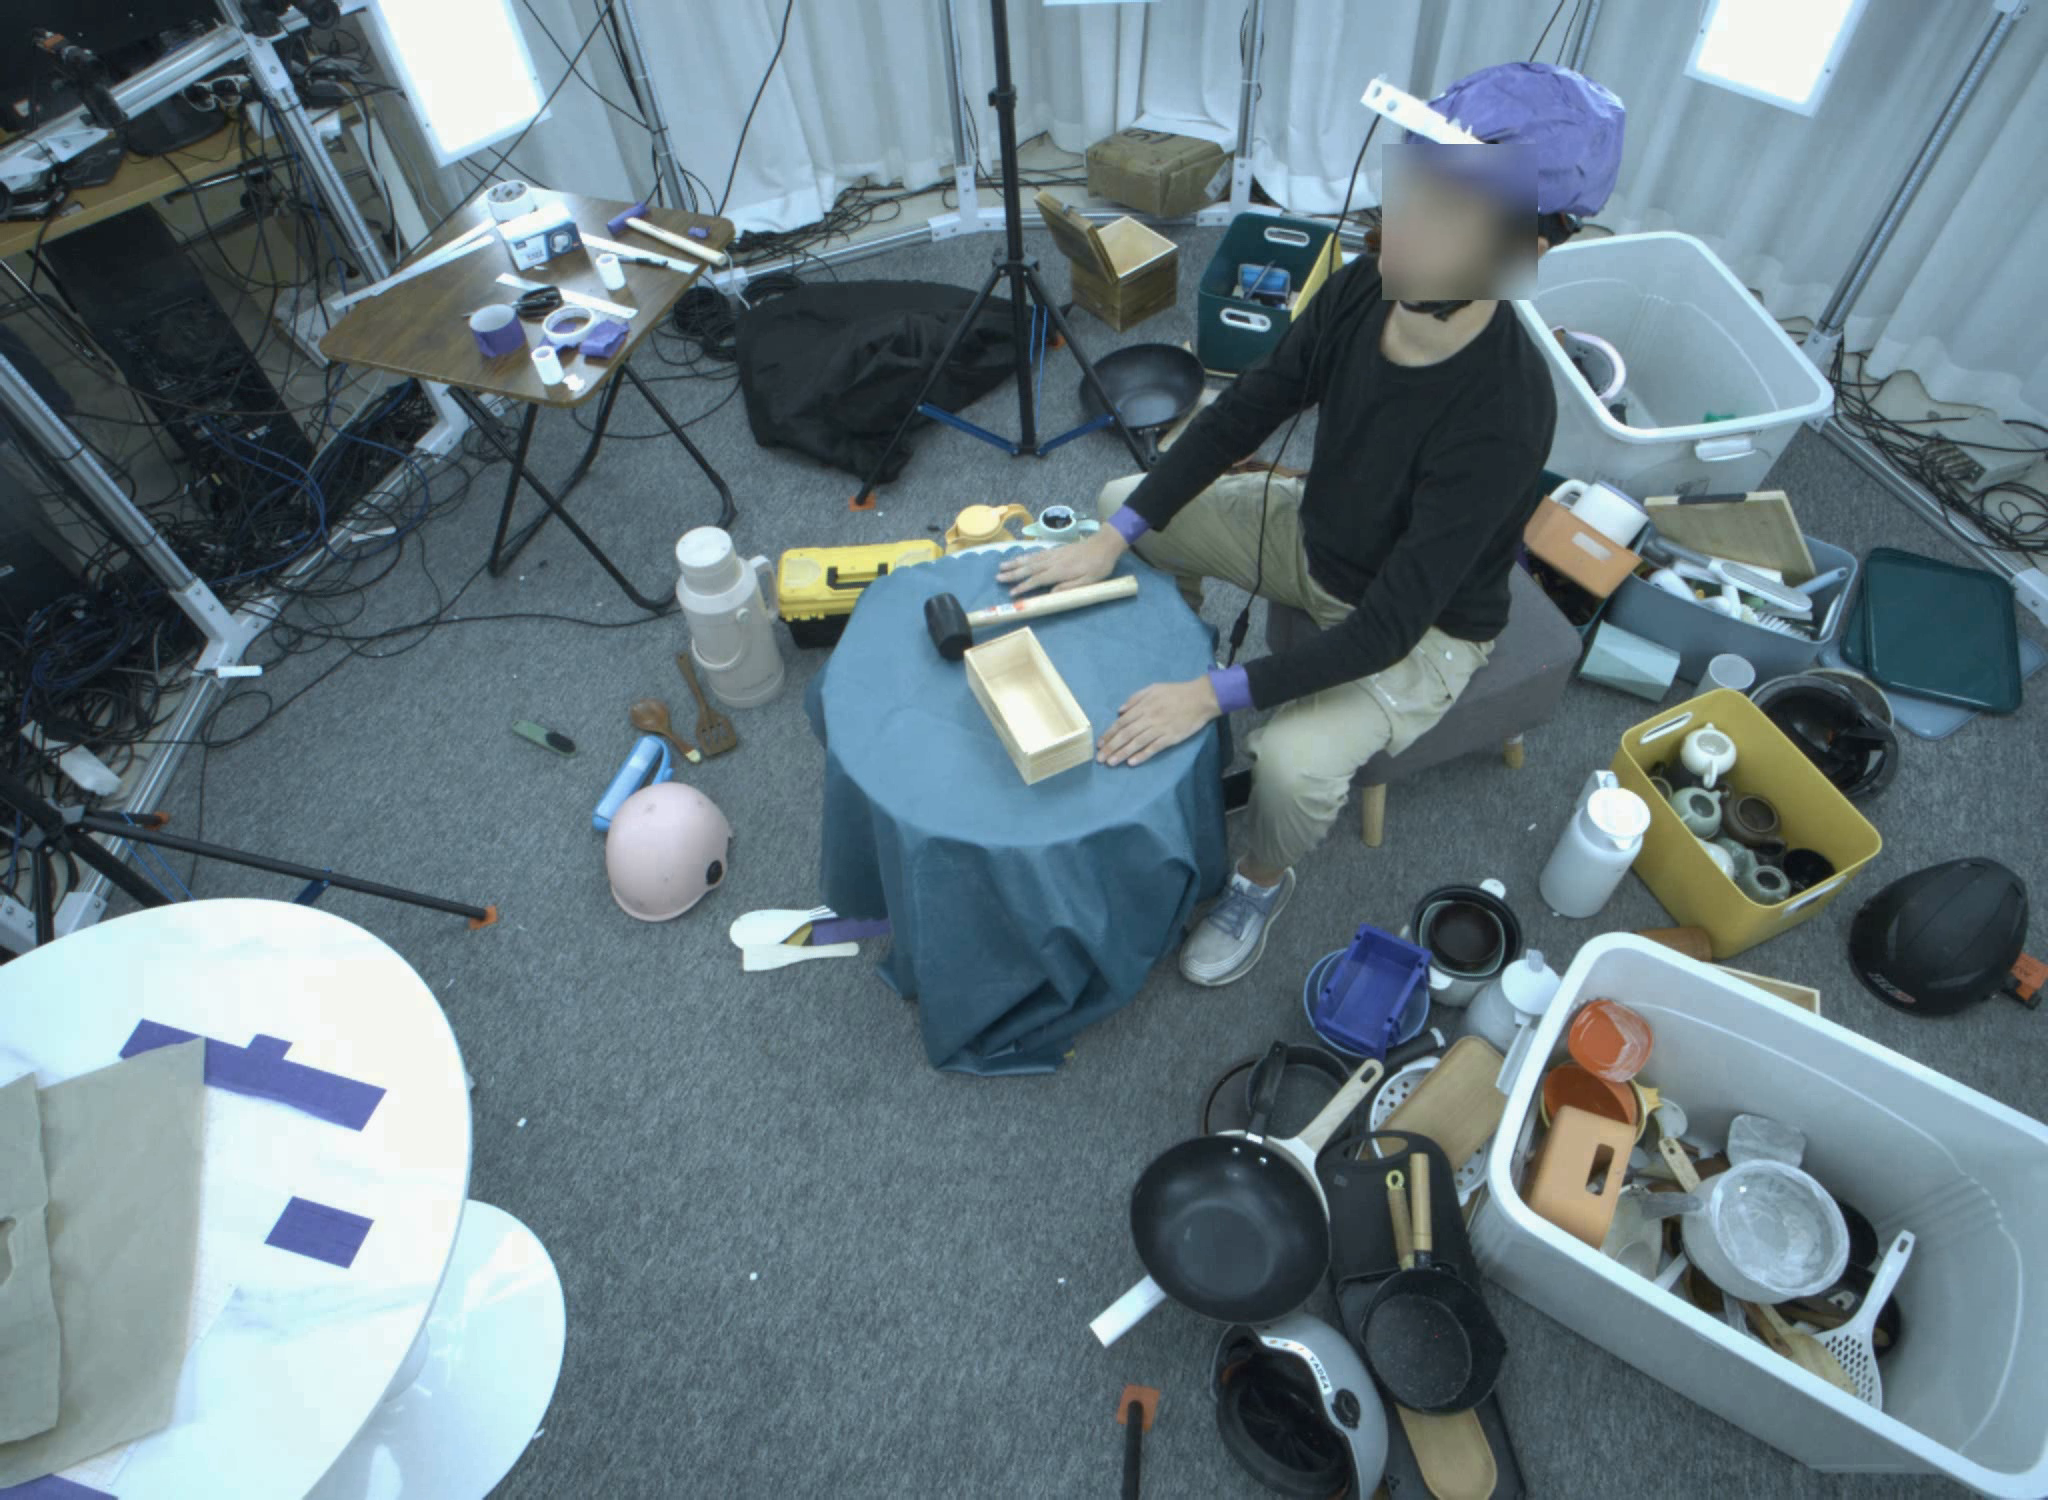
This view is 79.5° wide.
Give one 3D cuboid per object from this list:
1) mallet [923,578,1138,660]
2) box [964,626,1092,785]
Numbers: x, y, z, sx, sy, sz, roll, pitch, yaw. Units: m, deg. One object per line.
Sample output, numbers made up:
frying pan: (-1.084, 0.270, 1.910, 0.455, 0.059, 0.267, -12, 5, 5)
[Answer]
mallet: (0.013, -0.227, 1.908, 0.341, 0.065, 0.100, -15, 56, -9)
box: (0.004, -0.067, 1.782, 0.108, 0.081, 0.207, -22, 57, -13)
